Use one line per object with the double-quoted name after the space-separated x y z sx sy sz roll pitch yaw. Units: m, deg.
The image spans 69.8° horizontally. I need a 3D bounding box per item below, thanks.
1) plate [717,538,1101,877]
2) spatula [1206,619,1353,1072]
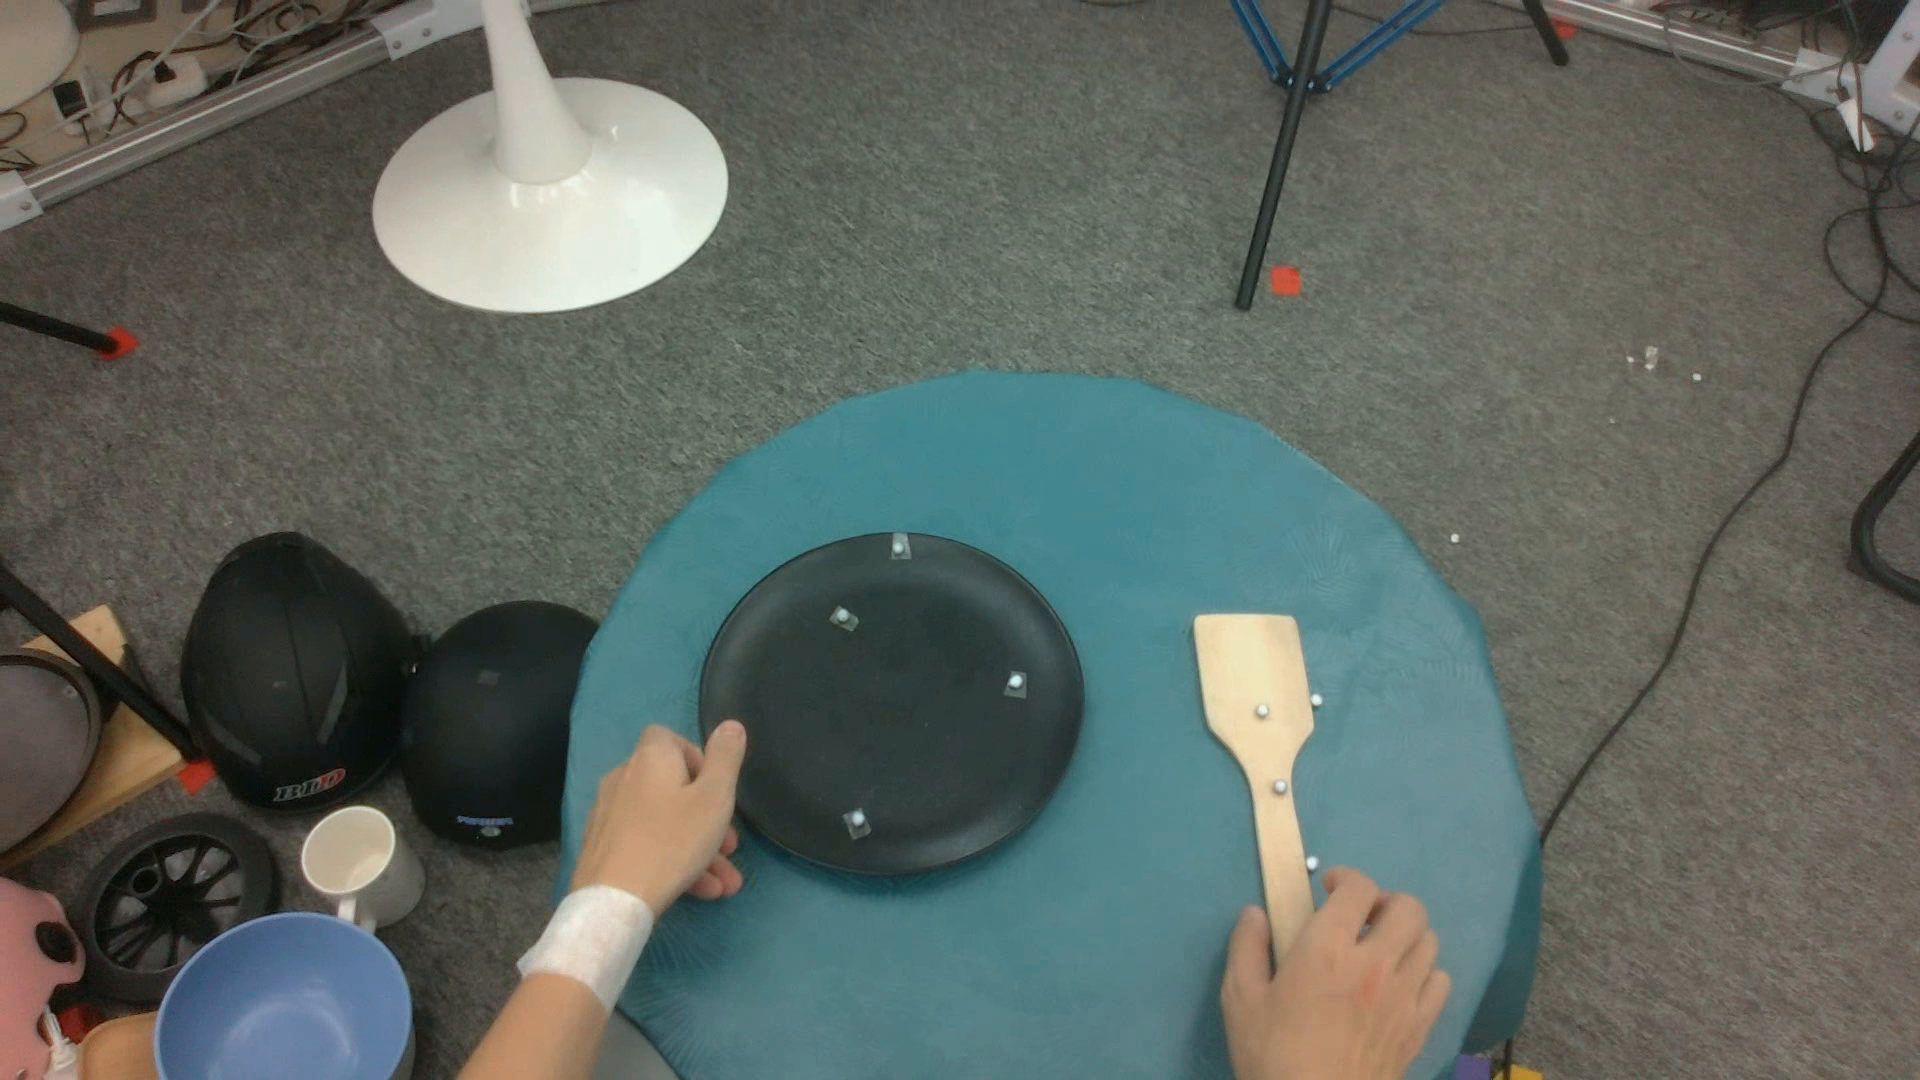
-0.032 0.103 0.884 0.244 0.023 0.245 1 54 -1 "plate"
0.203 0.174 0.844 0.072 0.010 0.294 0 54 -2 "spatula"
